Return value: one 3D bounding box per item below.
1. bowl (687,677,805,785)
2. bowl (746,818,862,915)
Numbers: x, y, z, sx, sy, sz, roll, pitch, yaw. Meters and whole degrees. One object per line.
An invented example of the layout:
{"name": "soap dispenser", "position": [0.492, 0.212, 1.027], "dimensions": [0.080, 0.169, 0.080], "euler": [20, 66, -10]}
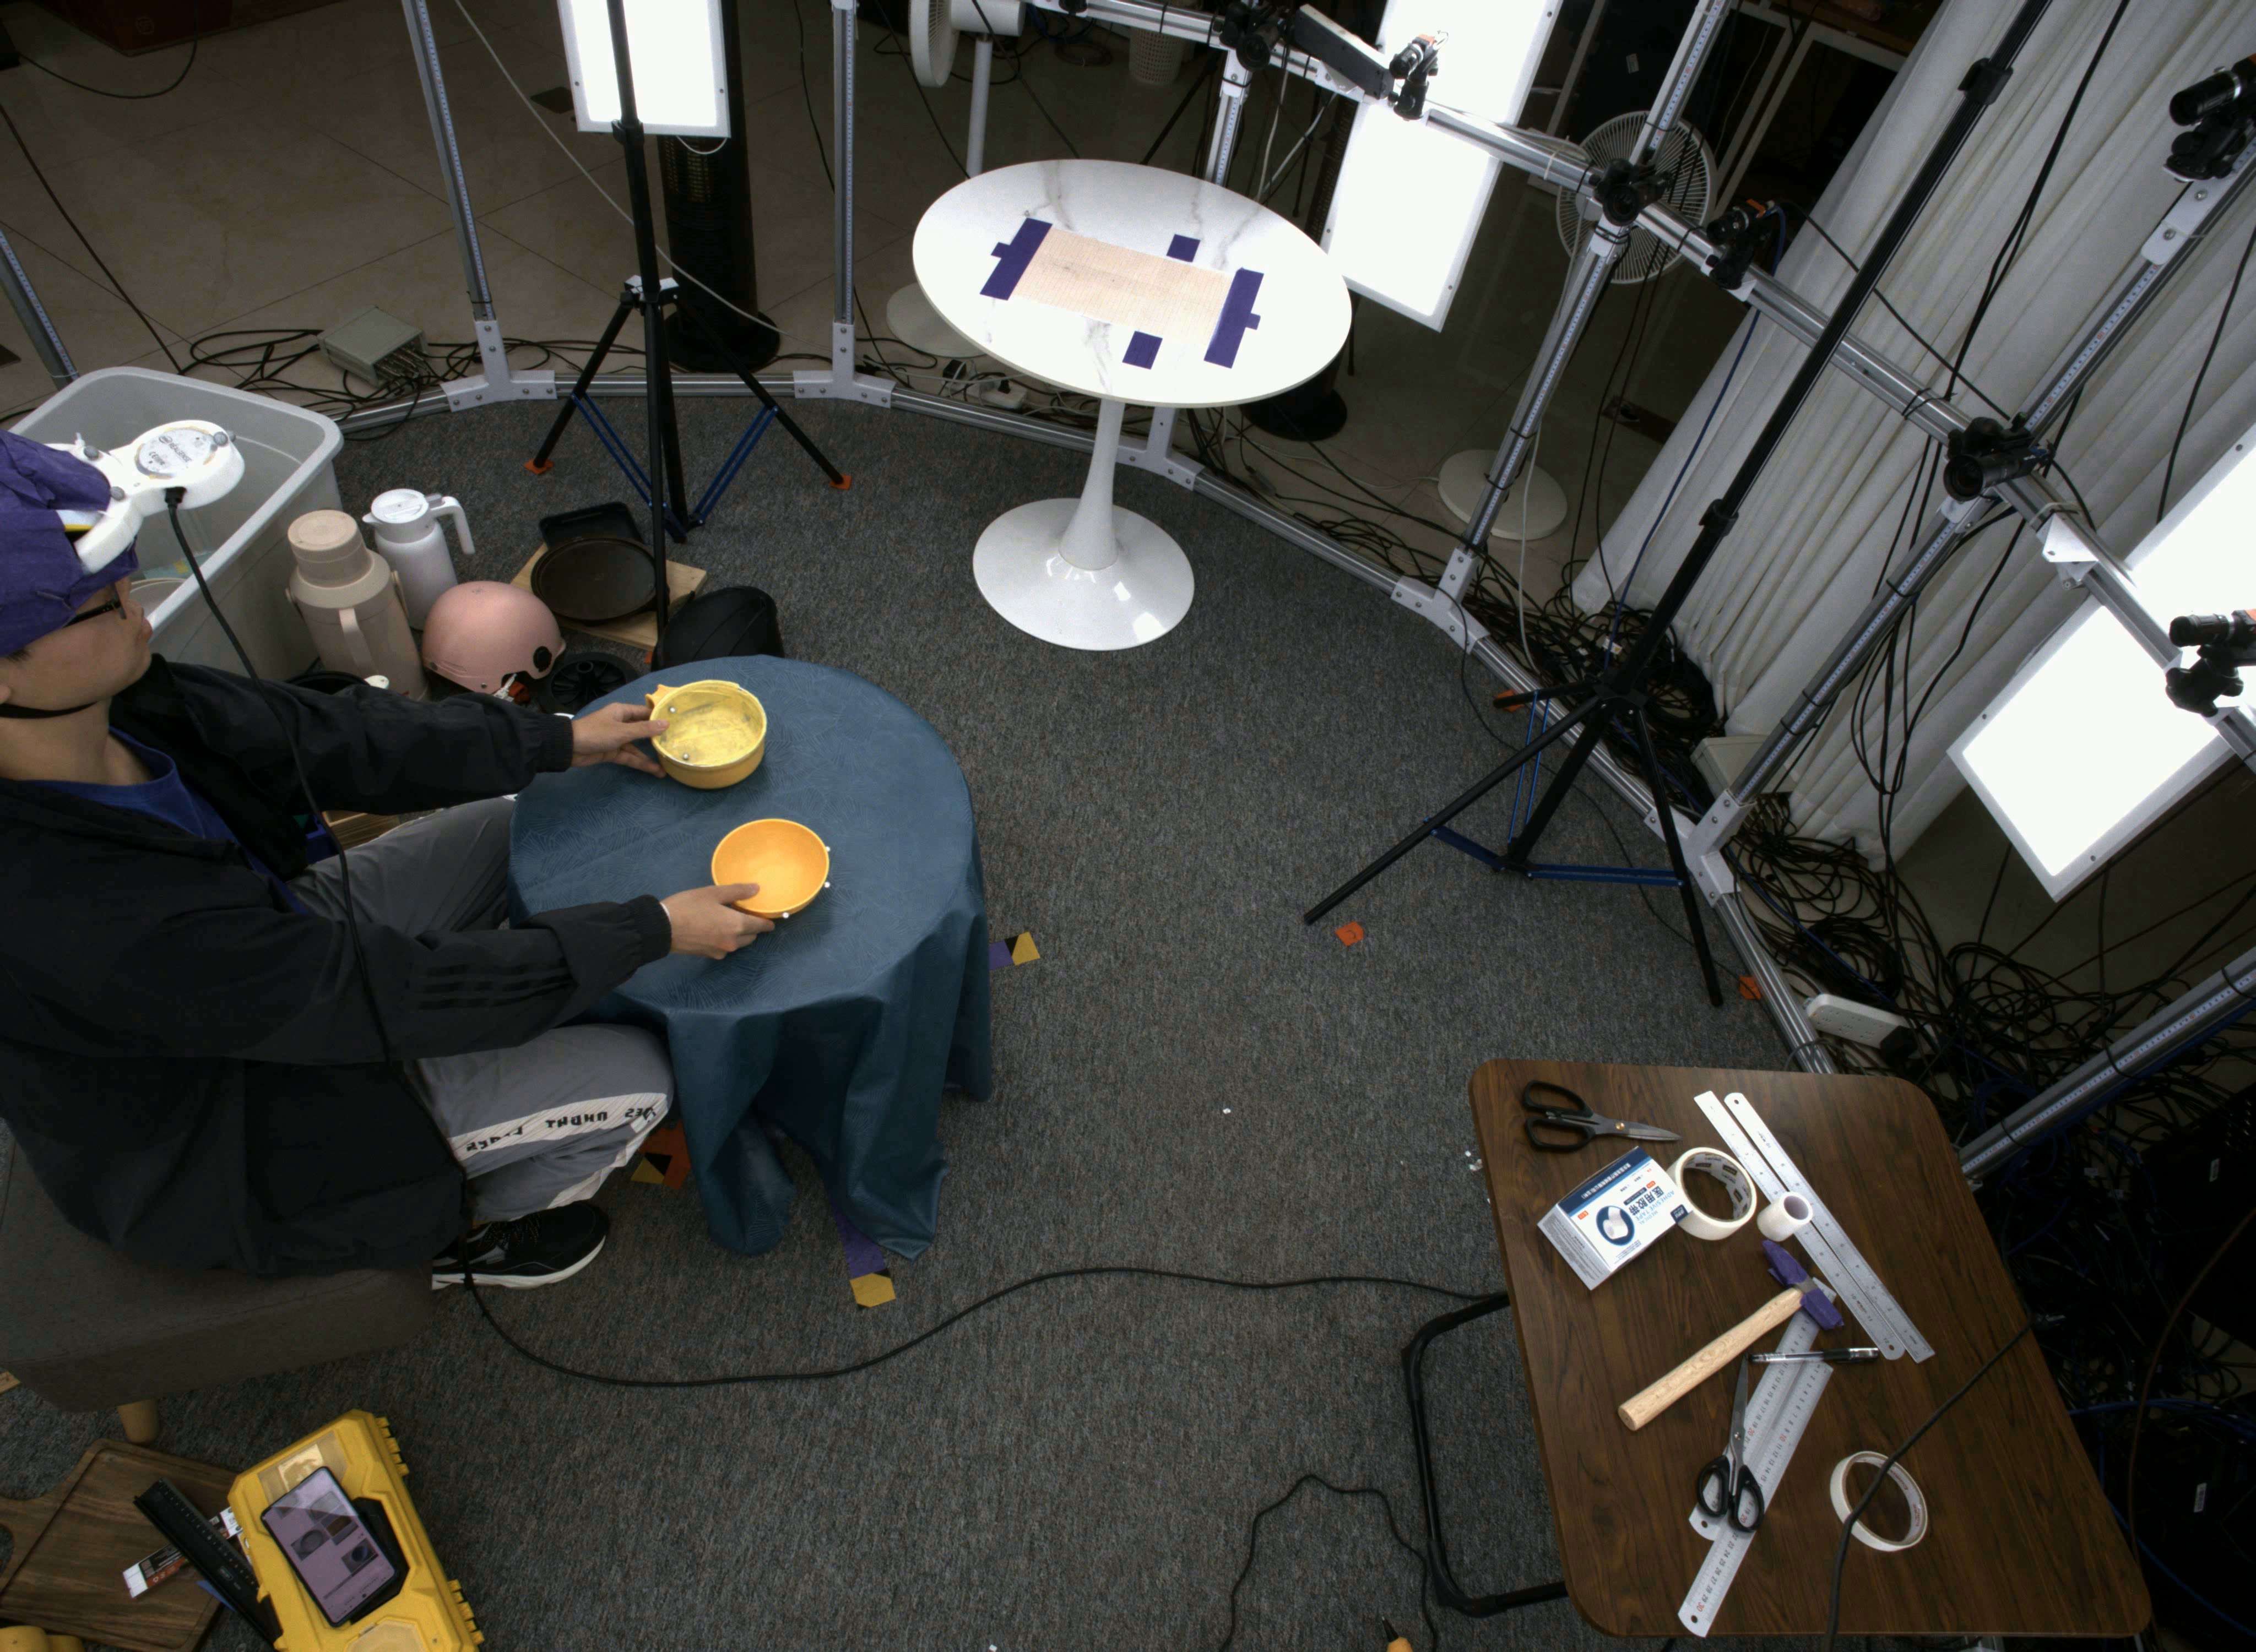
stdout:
{"name": "bowl", "position": [-0.527, -0.134, 1.763], "dimensions": [0.176, 0.076, 0.152], "euler": [31, 56, 9]}
{"name": "bowl", "position": [-0.411, 0.061, 1.654], "dimensions": [0.145, 0.061, 0.142], "euler": [7, 50, -7]}
